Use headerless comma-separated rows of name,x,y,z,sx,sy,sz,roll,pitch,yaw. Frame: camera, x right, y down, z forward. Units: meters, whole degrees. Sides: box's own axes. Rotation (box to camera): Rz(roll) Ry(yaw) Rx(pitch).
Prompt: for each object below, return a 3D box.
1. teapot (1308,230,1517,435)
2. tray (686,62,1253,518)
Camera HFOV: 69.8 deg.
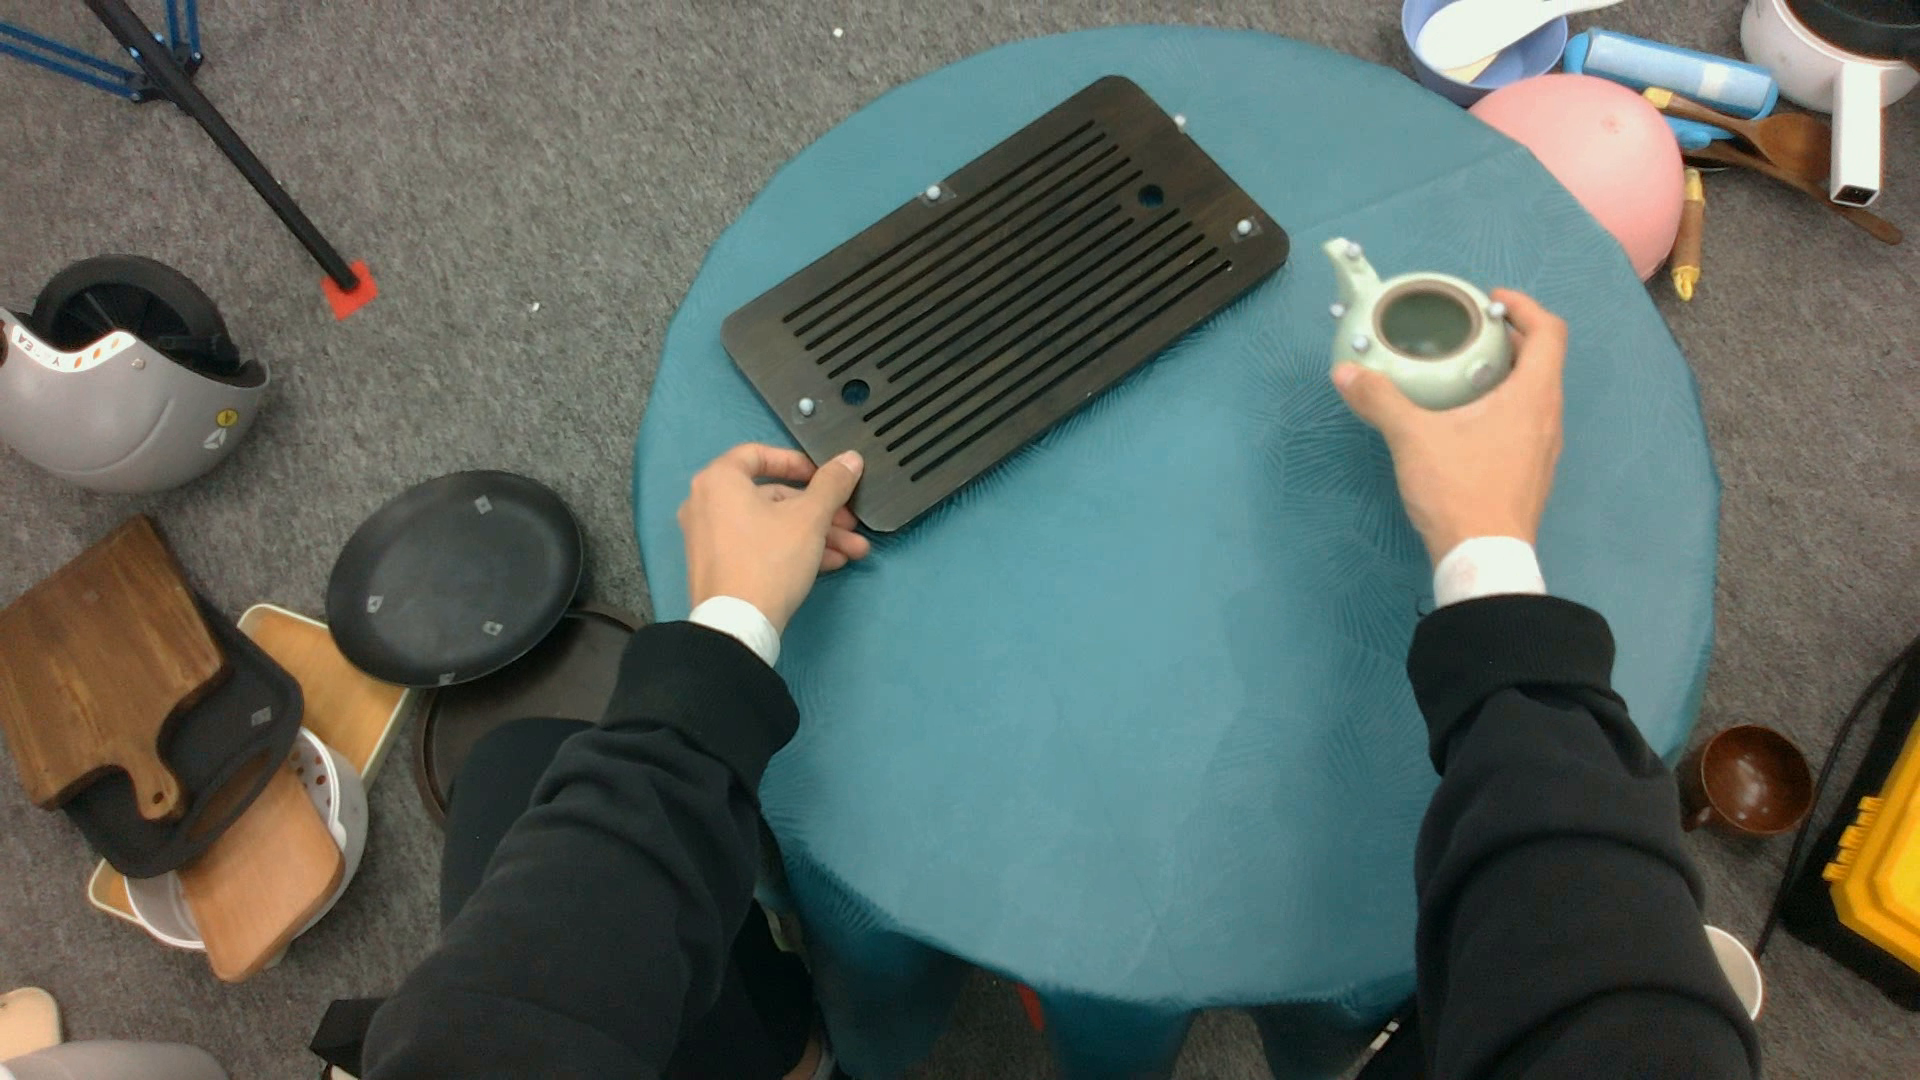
teapot,0.233,-0.101,0.729,0.088,0.074,0.144,-32,59,-10
tray,0.008,-0.154,0.806,0.306,0.018,0.170,-35,71,-13
